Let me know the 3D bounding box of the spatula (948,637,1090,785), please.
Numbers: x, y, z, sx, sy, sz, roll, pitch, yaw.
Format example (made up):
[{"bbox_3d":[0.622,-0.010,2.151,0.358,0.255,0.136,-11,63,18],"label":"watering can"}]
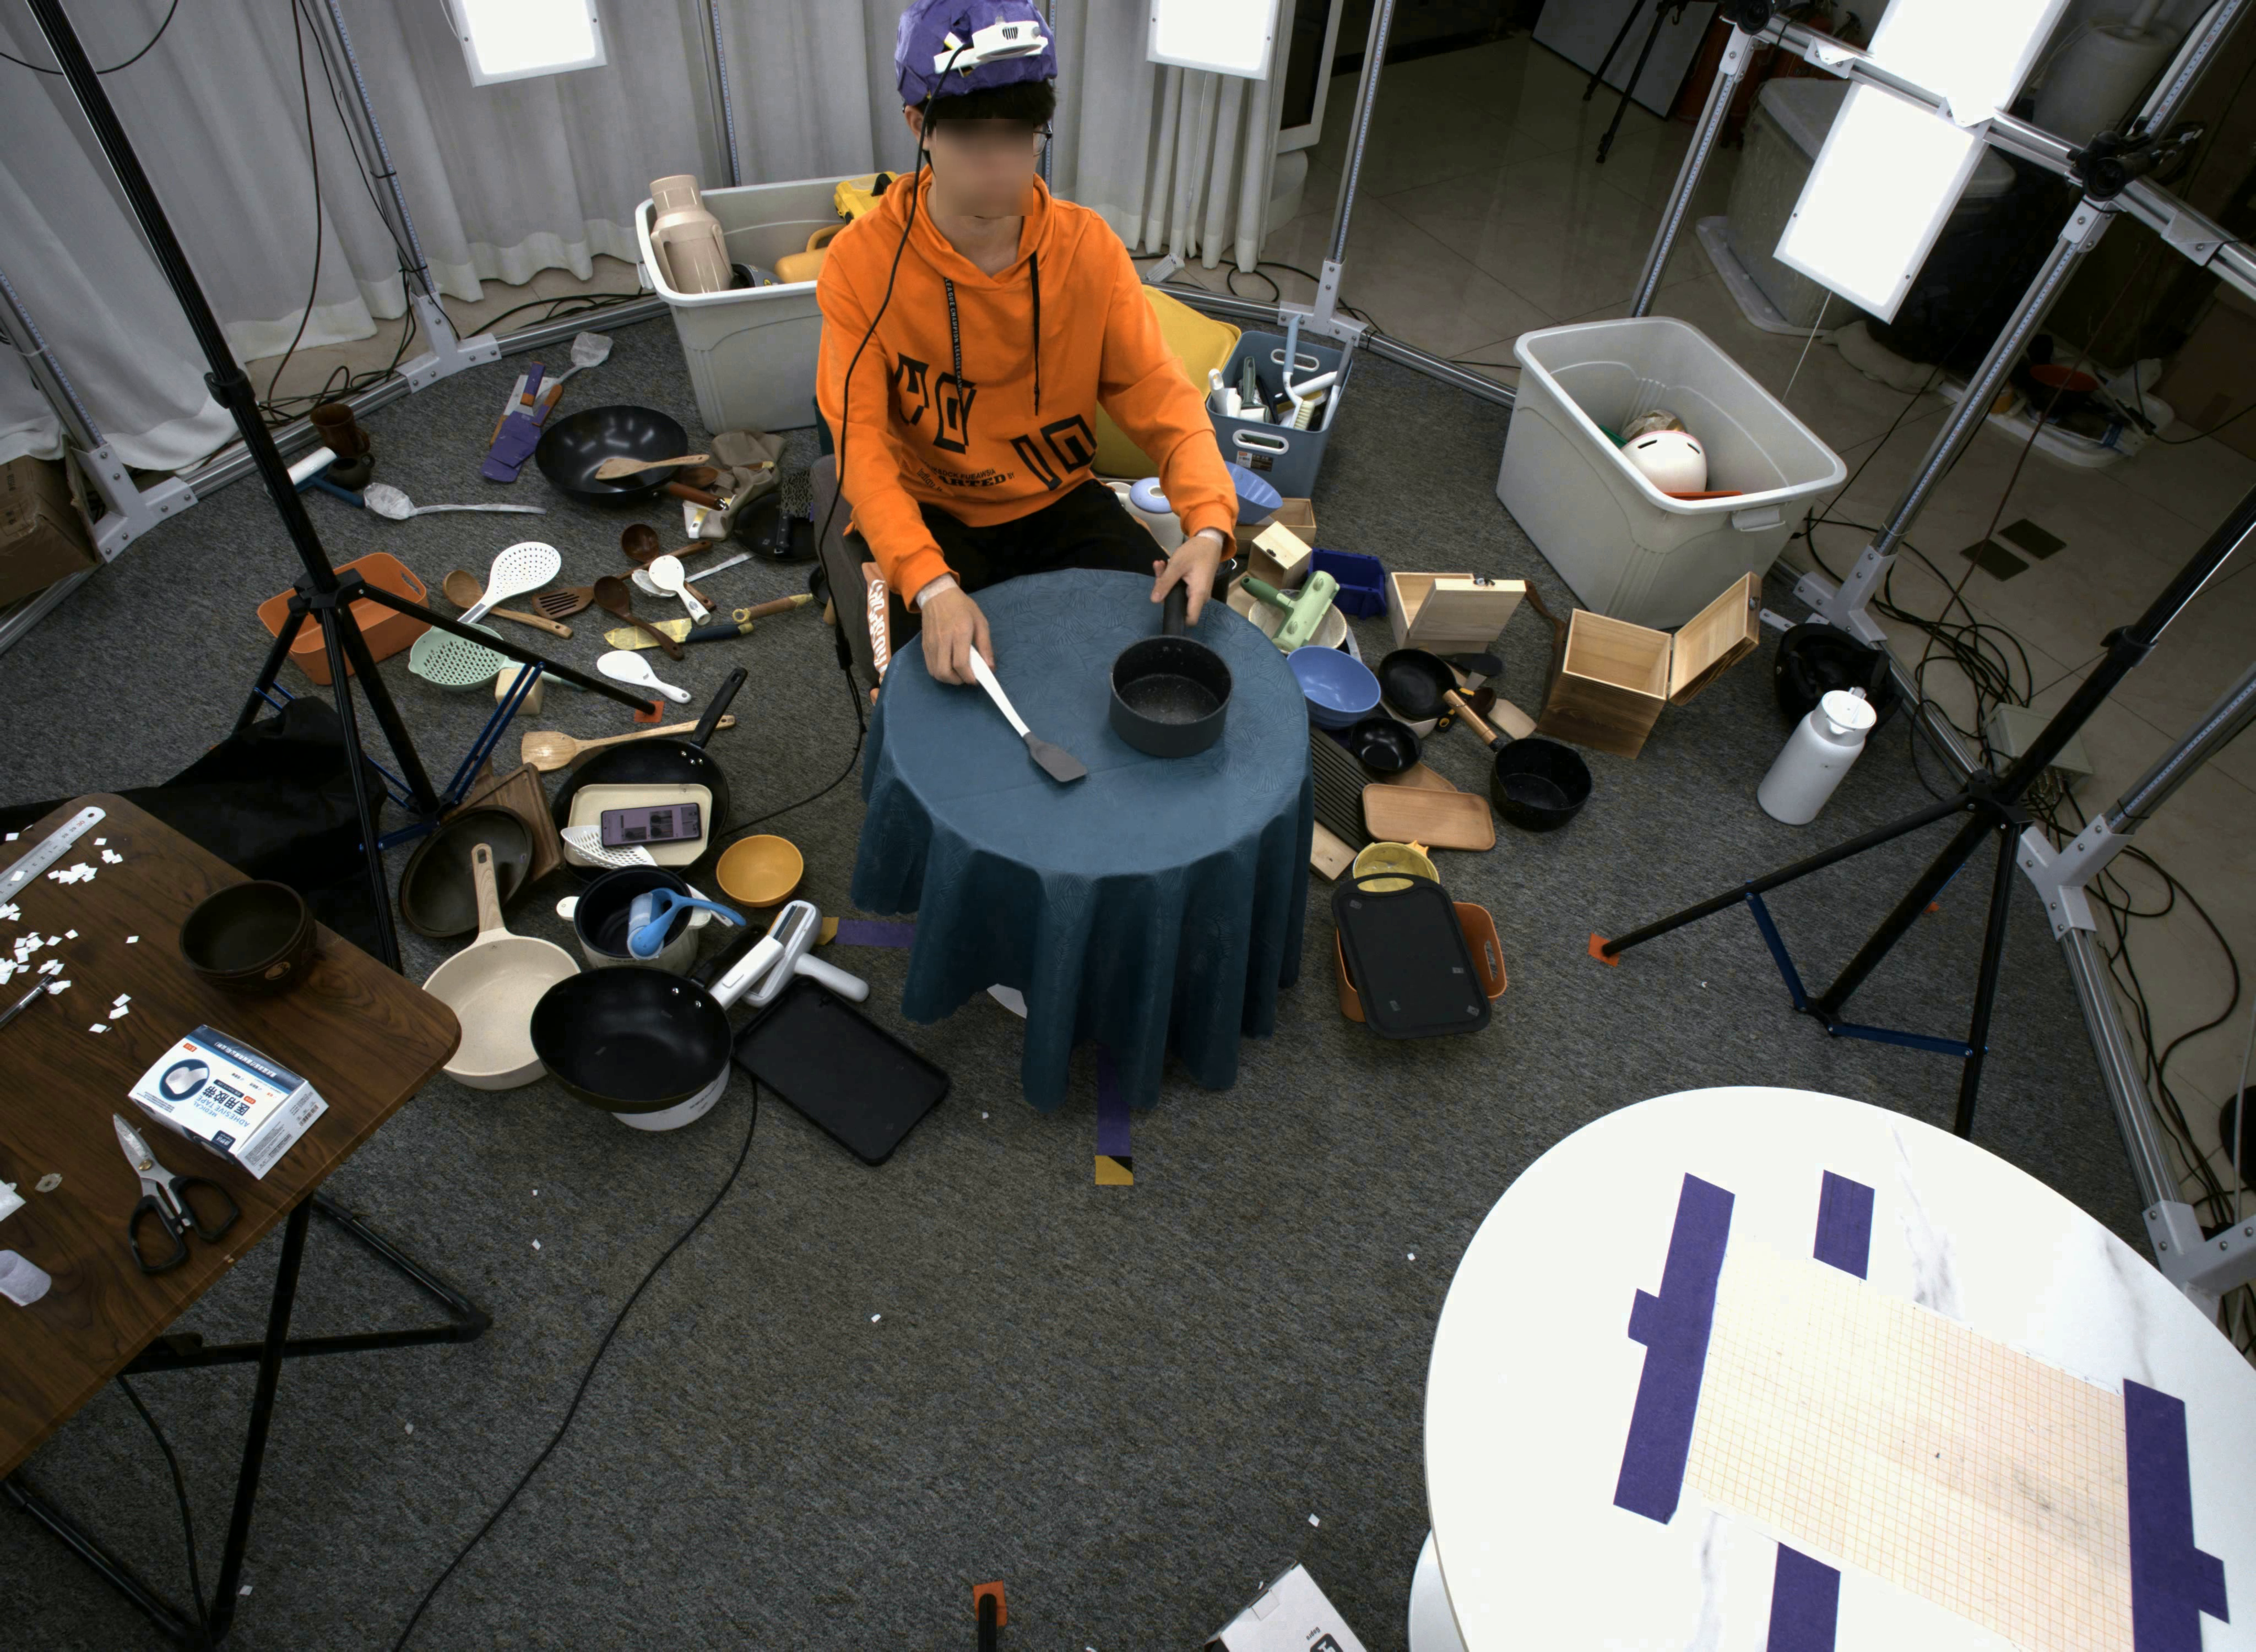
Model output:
[{"bbox_3d":[-0.155,-0.155,1.765,0.059,0.031,0.292,-19,58,-40],"label":"spatula"}]

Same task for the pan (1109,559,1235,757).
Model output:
[{"bbox_3d":[0.067,-0.243,1.827,0.172,0.084,0.336,7,51,1],"label":"pan"}]
